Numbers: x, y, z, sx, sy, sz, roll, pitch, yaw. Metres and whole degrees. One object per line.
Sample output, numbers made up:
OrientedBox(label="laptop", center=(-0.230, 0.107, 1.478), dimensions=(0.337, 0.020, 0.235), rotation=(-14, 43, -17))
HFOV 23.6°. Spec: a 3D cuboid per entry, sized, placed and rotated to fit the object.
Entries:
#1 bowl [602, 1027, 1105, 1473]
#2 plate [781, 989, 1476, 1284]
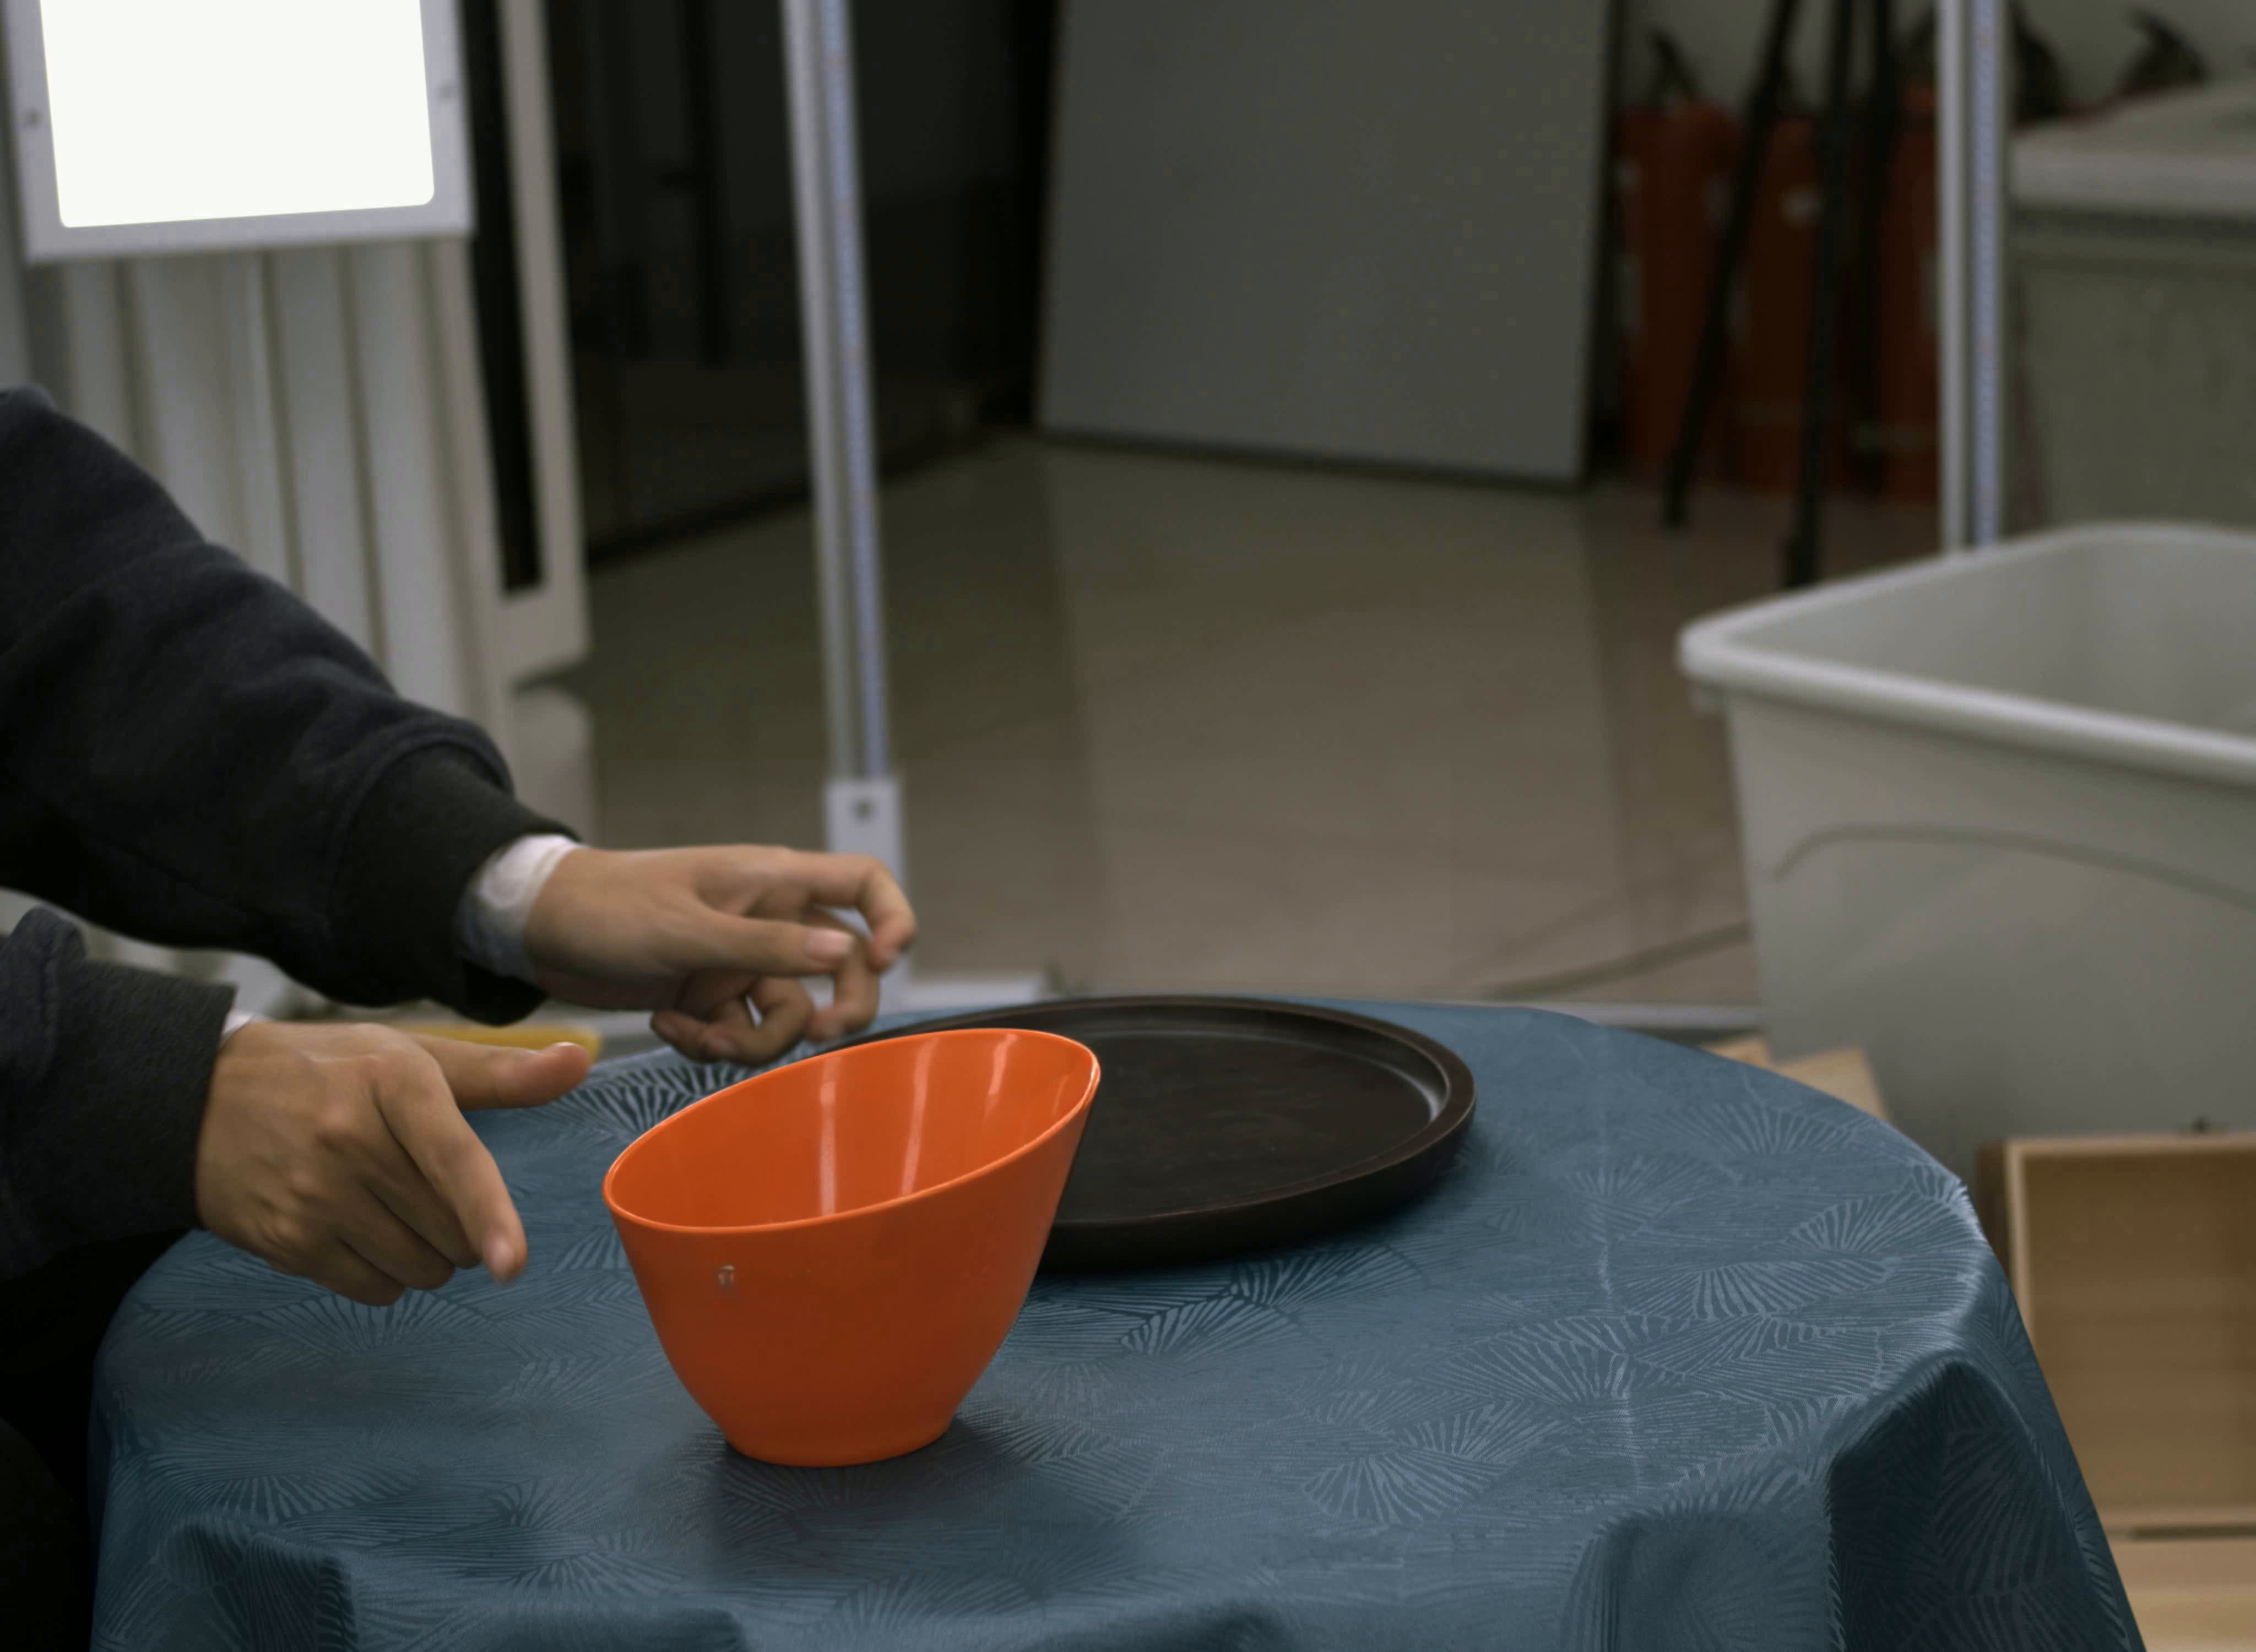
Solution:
OrientedBox(label="bowl", center=(-0.076, 0.125, 1.559), dimensions=(0.146, 0.106, 0.148), rotation=(-4, 14, 0))
OrientedBox(label="plate", center=(-0.008, 0.103, 1.797), dimensions=(0.251, 0.029, 0.255), rotation=(-4, 15, 0))
